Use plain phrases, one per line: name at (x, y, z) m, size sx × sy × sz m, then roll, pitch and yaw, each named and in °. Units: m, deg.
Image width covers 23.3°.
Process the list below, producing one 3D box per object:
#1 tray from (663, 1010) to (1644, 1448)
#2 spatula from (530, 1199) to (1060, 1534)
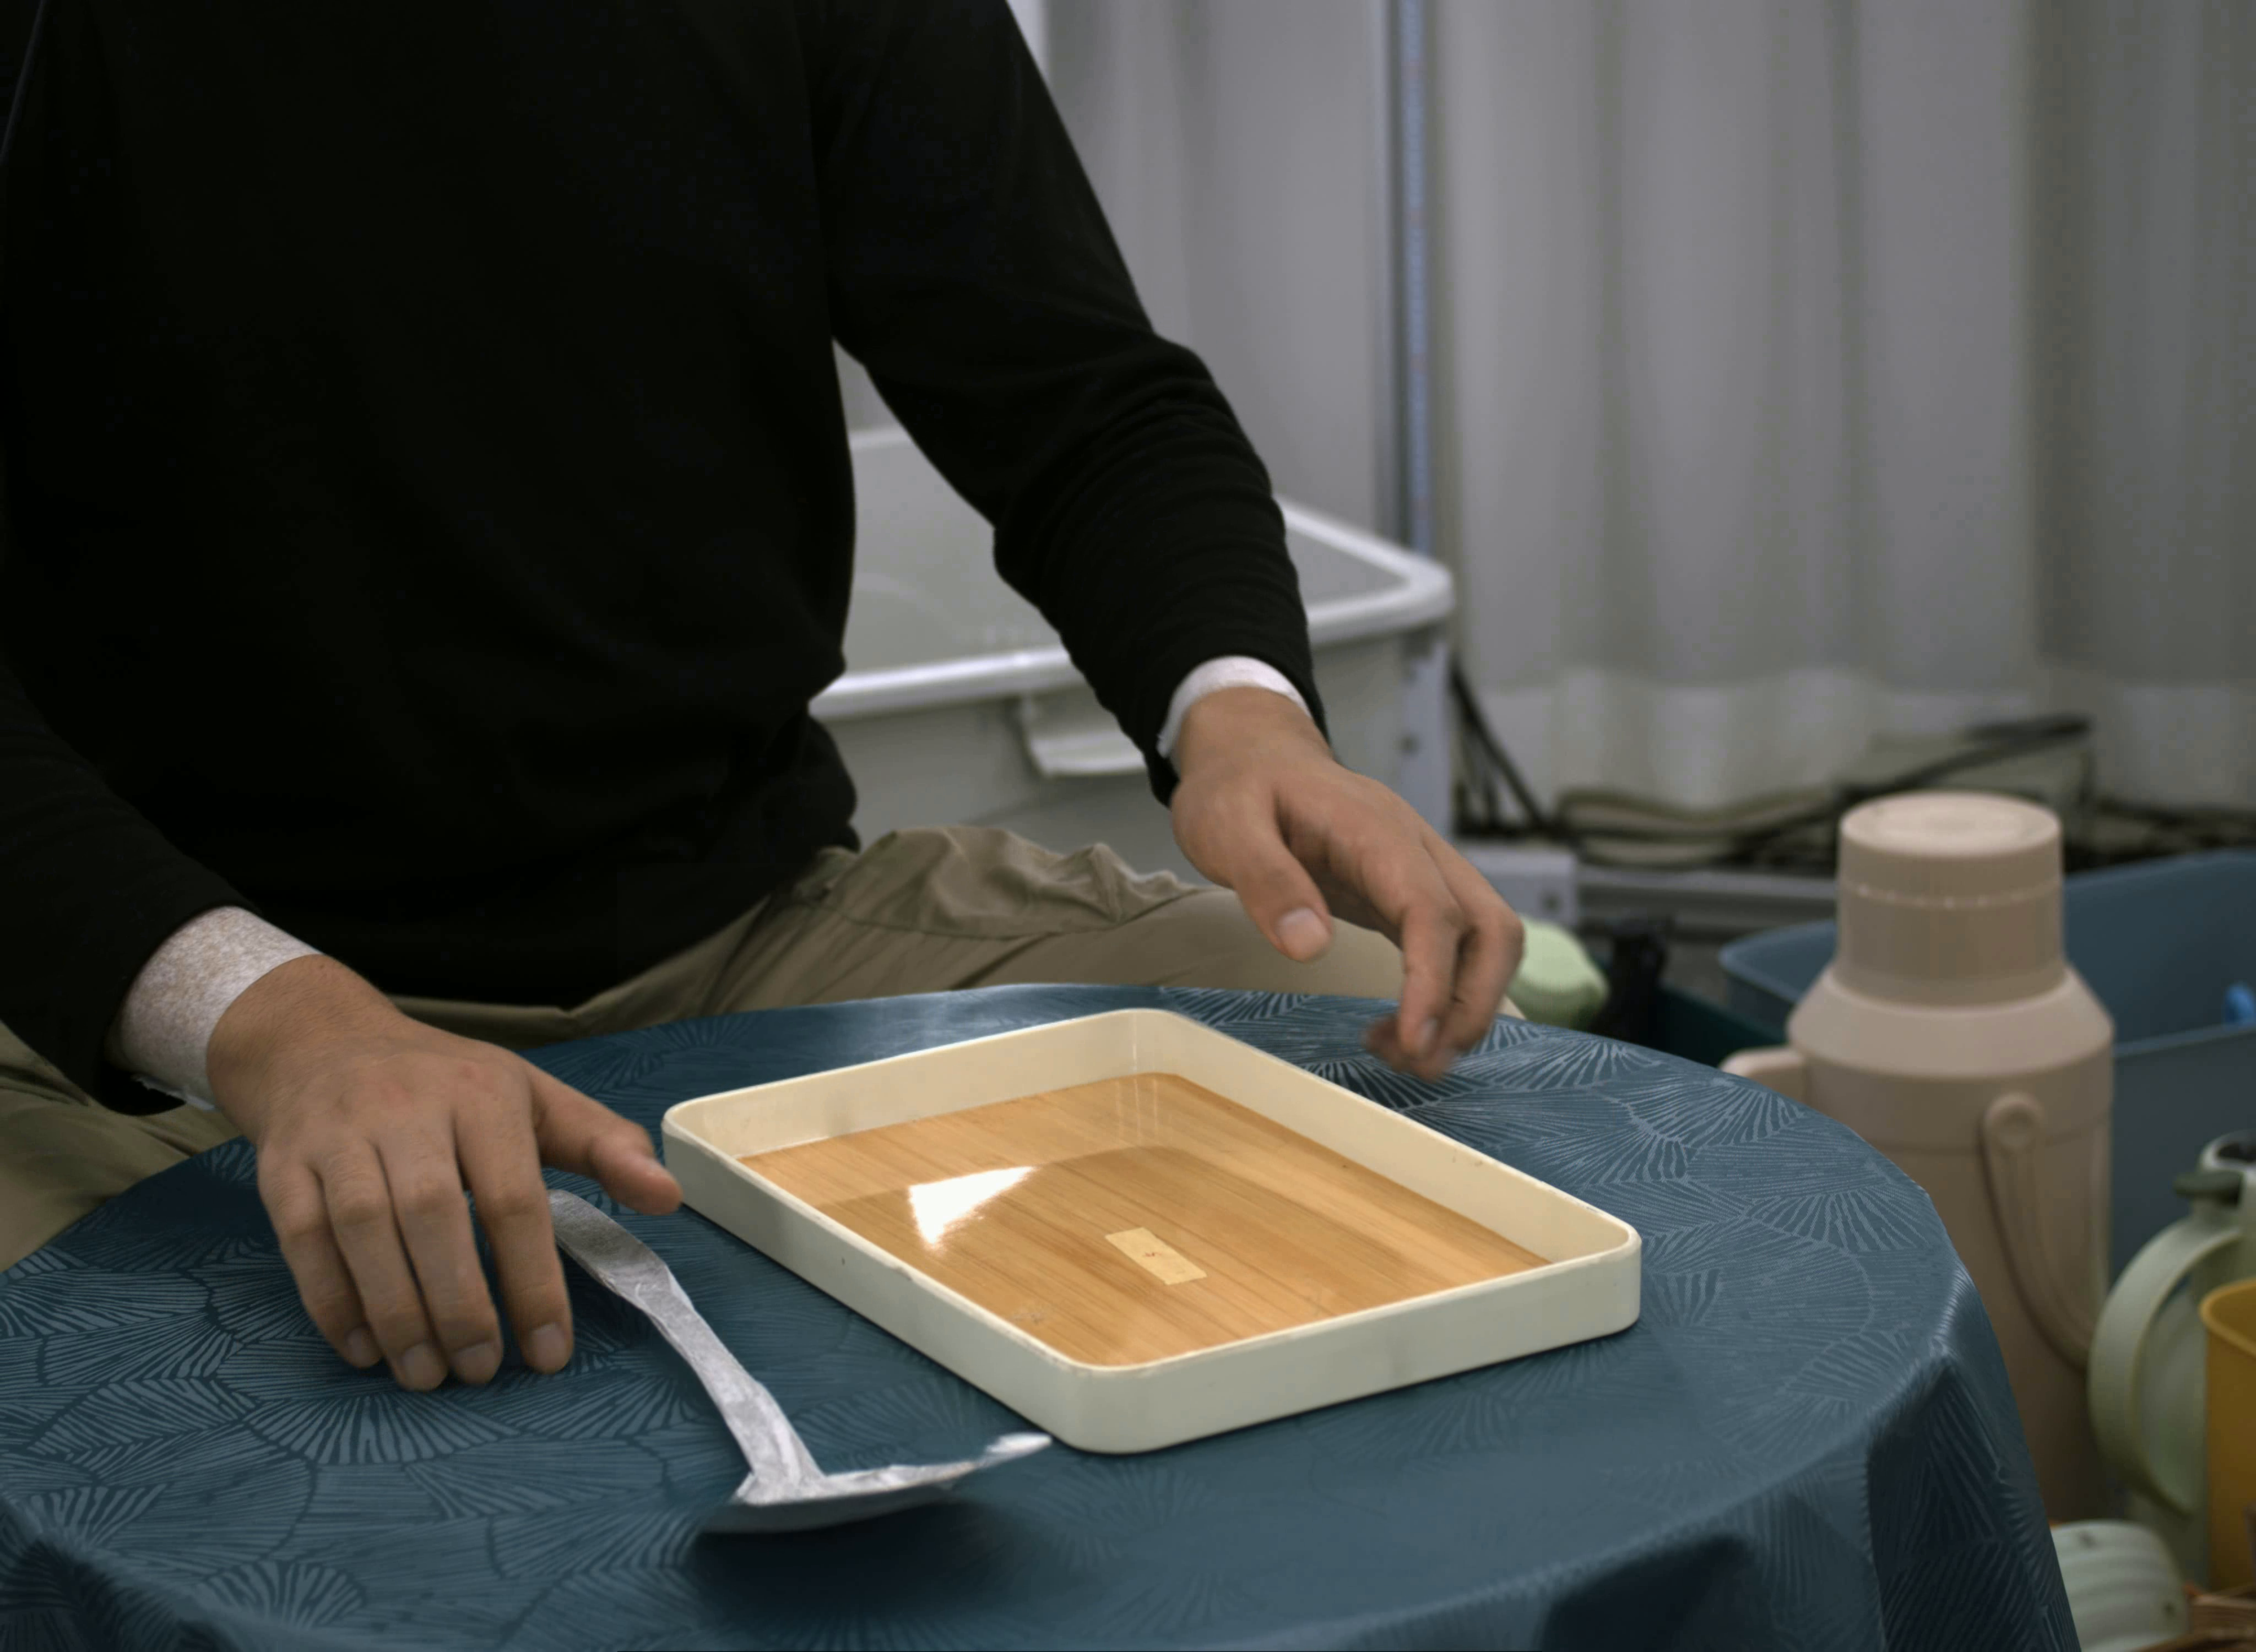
tray at (0.001, 0.117, 1.654) m, size 0.191 × 0.027 × 0.302 m, roll -11°, pitch 16°, yaw -27°
spatula at (-0.120, 0.144, 1.554) m, size 0.098 × 0.044 × 0.368 m, roll -9°, pitch 16°, yaw -20°
